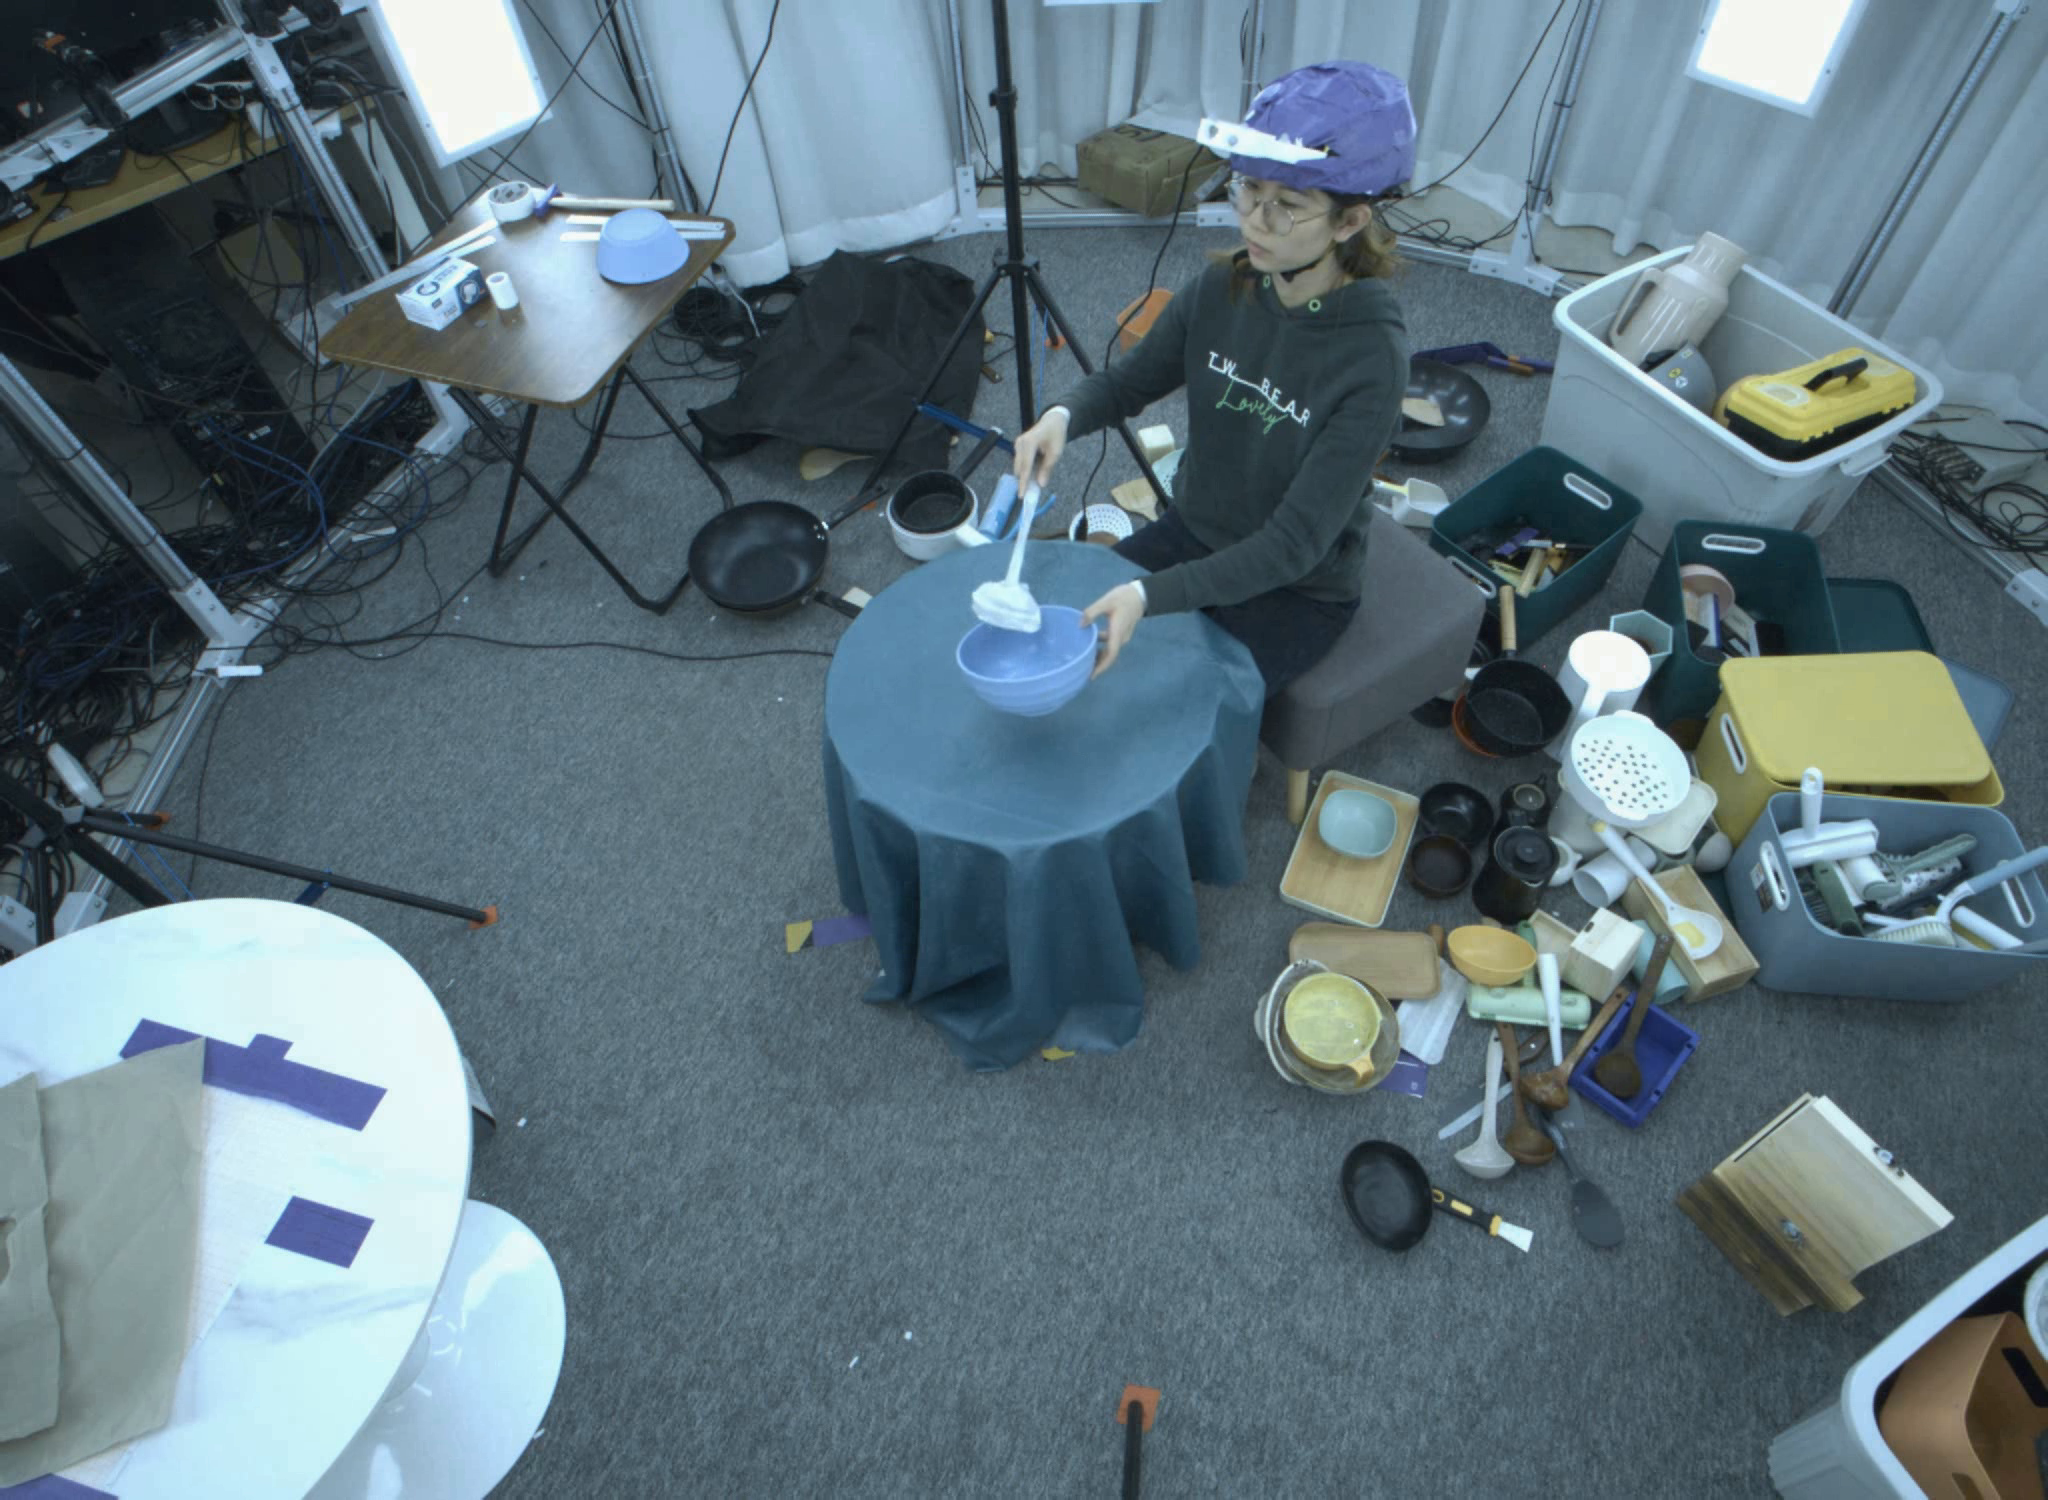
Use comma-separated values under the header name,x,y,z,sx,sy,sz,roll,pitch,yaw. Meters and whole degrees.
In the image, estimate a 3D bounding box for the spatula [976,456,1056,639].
name,x,y,z,sx,sy,sz,roll,pitch,yaw
spatula,0.007,-0.303,1.747,0.099,0.044,0.363,16,62,-8

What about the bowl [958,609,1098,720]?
name,x,y,z,sx,sy,sz,roll,pitch,yaw
bowl,0.014,-0.106,1.713,0.195,0.097,0.194,-8,37,7
